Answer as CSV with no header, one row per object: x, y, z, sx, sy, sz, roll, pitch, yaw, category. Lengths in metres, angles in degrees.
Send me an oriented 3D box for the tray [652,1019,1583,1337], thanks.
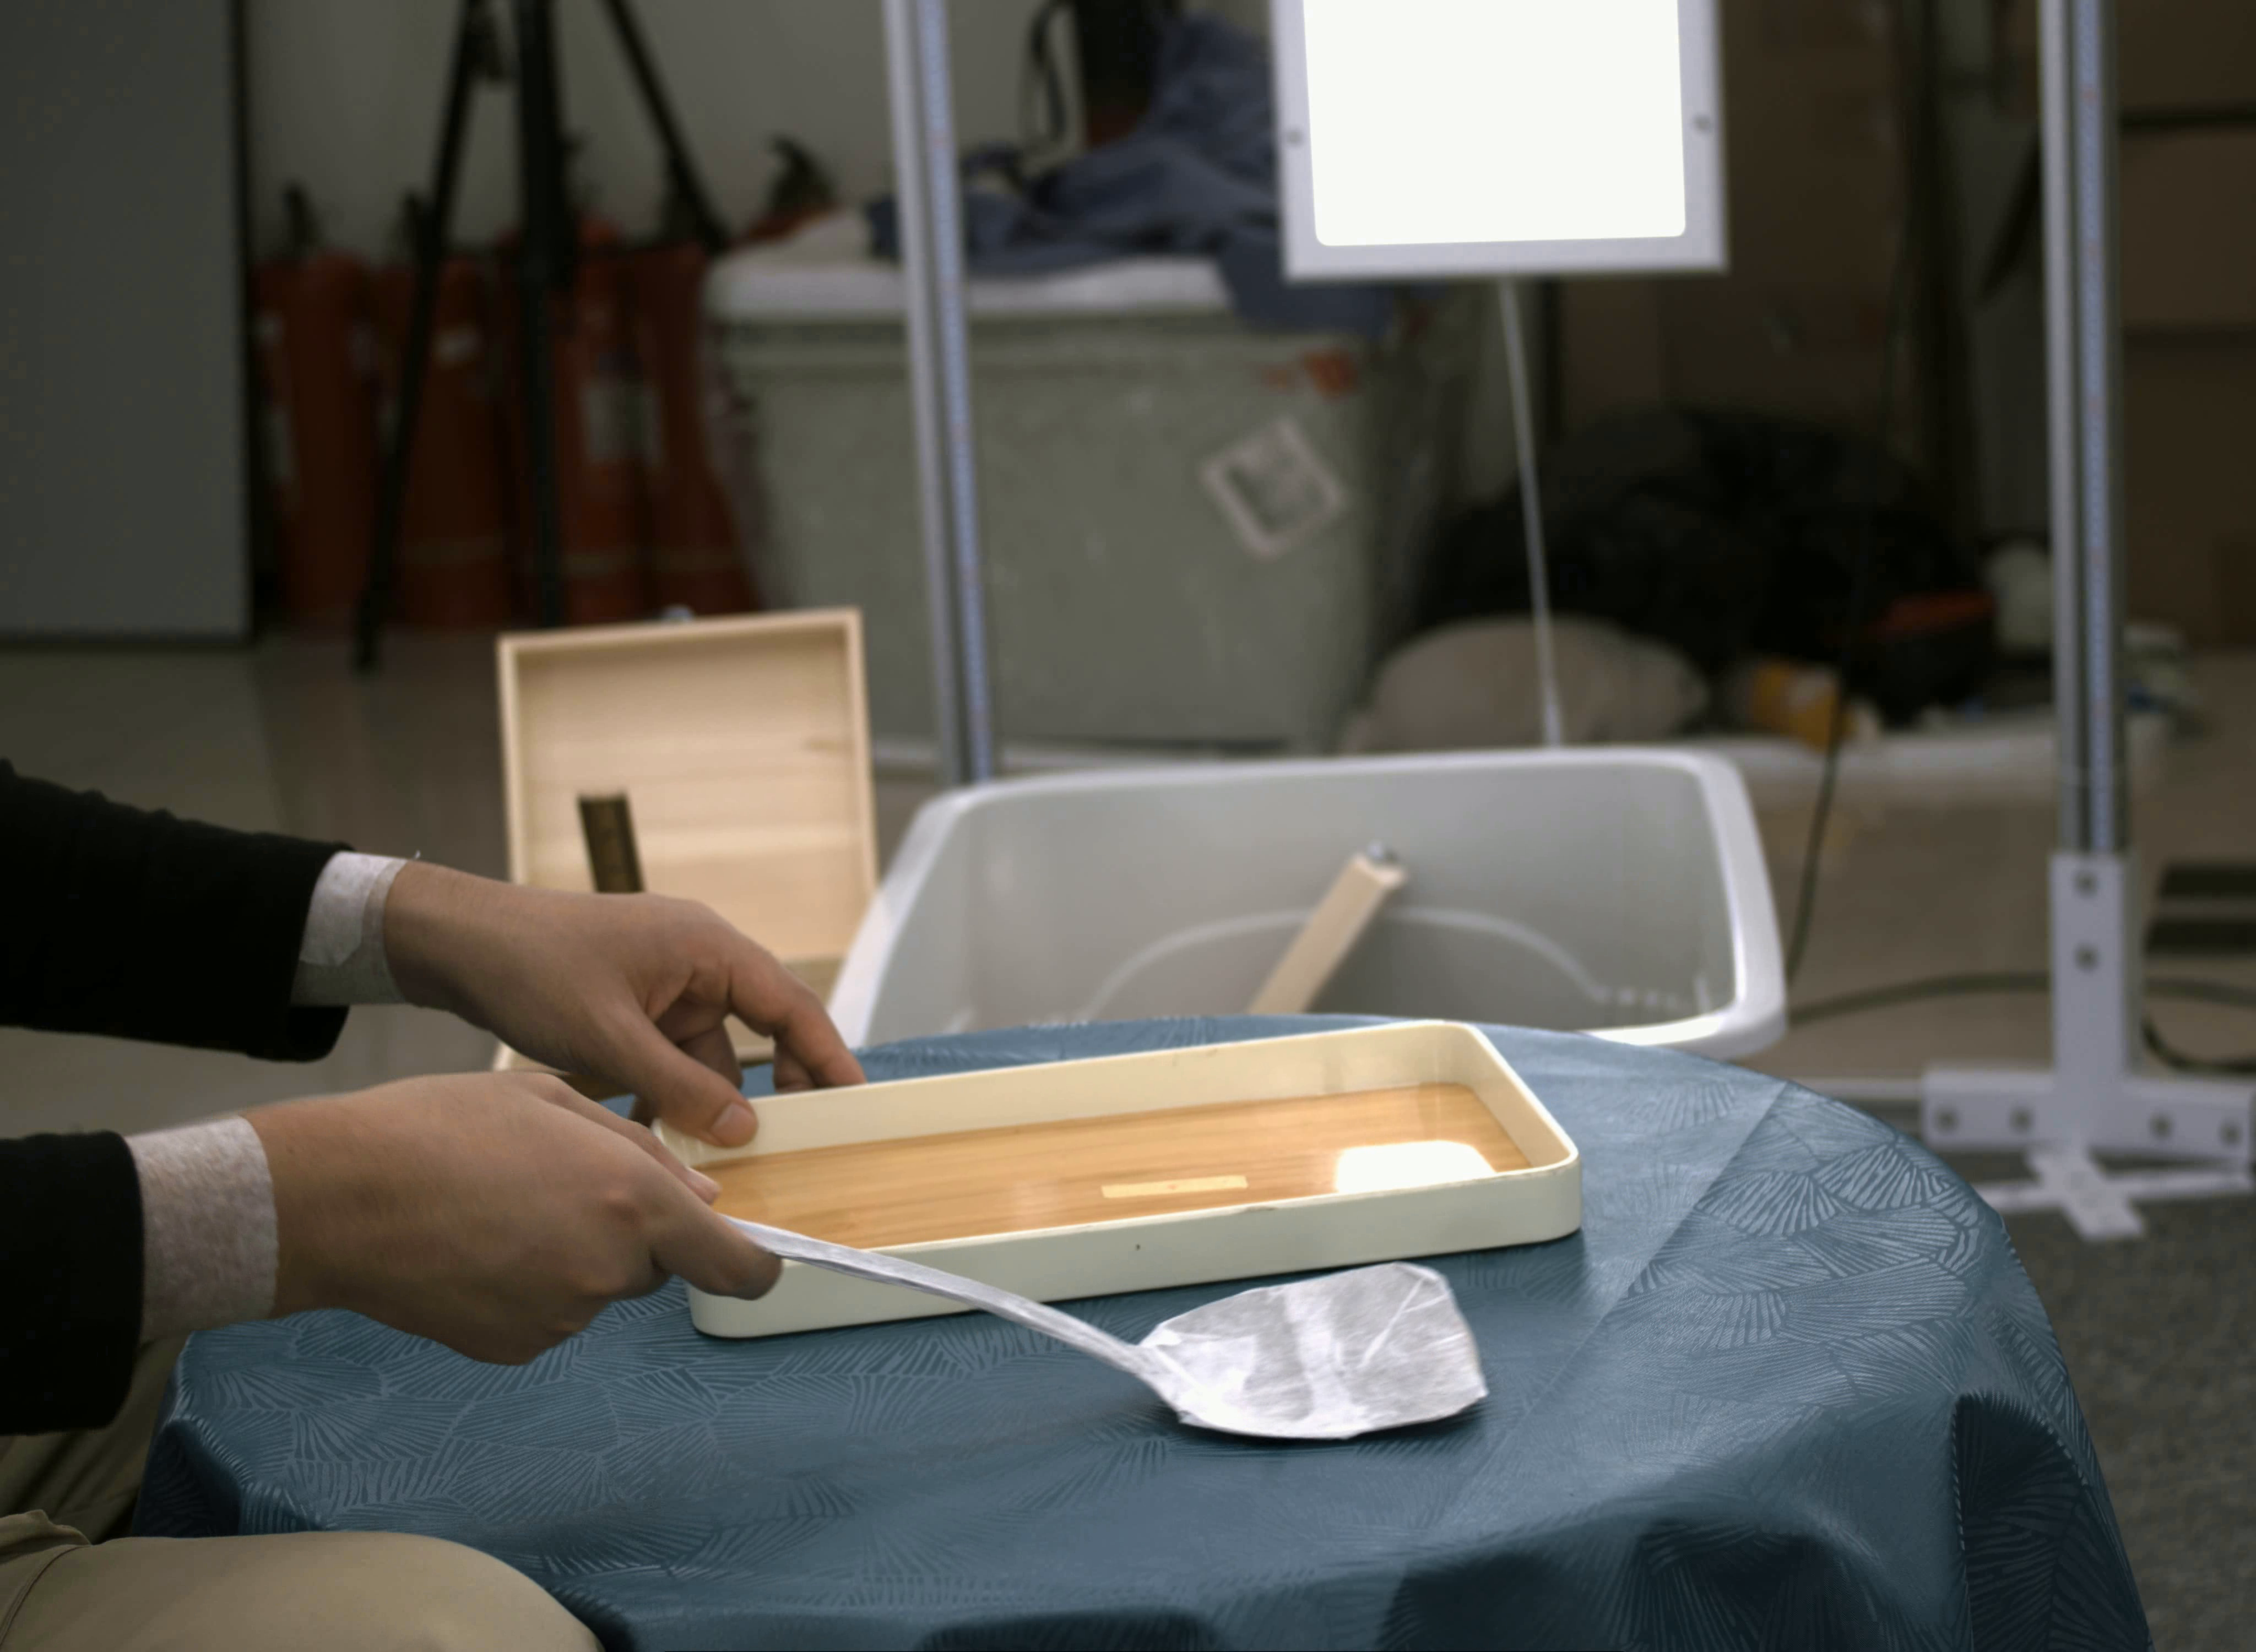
-0.008,0.118,1.879,0.298,0.027,0.192,-6,14,-5,tray

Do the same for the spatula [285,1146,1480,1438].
-0.071,0.130,1.657,0.361,0.045,0.099,15,21,-11,spatula
